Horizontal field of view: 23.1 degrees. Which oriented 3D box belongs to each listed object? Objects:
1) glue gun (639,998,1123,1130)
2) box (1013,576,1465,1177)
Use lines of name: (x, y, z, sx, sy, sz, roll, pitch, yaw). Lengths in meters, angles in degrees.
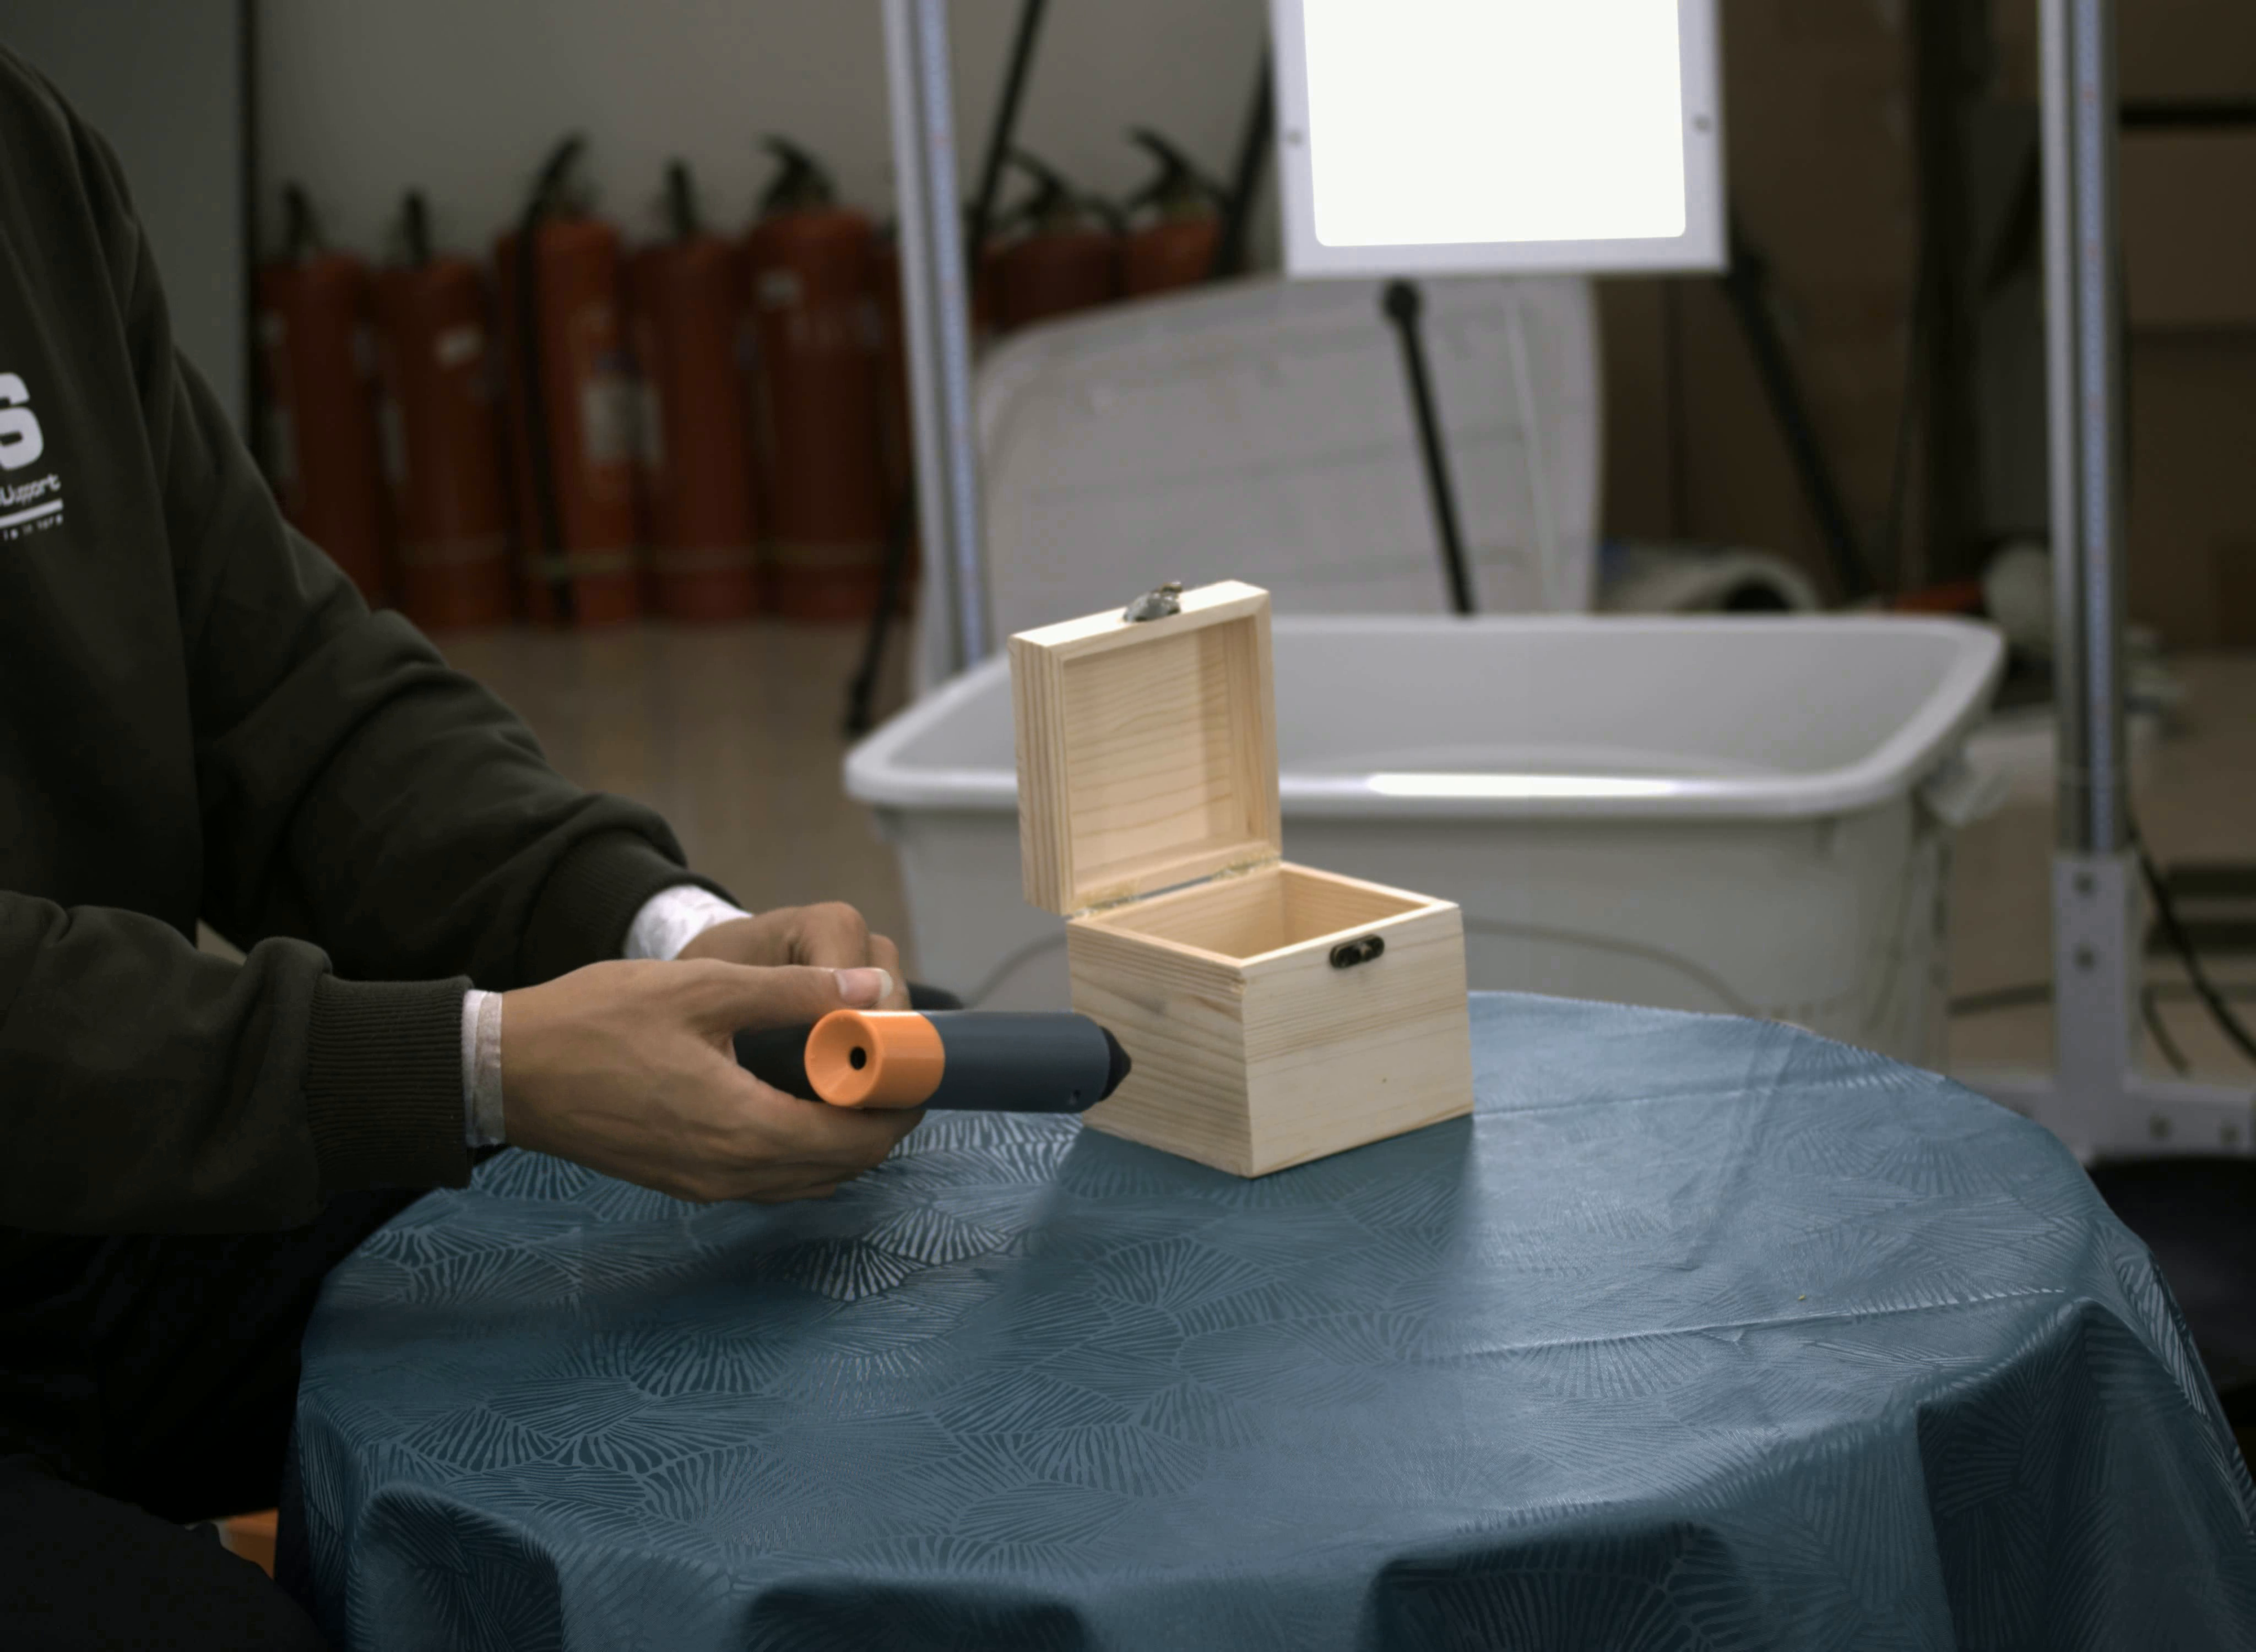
glue gun: (-0.084, 0.081, 1.858, 0.143, 0.041, 0.115, -2, -10, 35)
box: (0.041, 0.014, 1.950, 0.100, 0.185, 0.136, -14, 17, -35)
